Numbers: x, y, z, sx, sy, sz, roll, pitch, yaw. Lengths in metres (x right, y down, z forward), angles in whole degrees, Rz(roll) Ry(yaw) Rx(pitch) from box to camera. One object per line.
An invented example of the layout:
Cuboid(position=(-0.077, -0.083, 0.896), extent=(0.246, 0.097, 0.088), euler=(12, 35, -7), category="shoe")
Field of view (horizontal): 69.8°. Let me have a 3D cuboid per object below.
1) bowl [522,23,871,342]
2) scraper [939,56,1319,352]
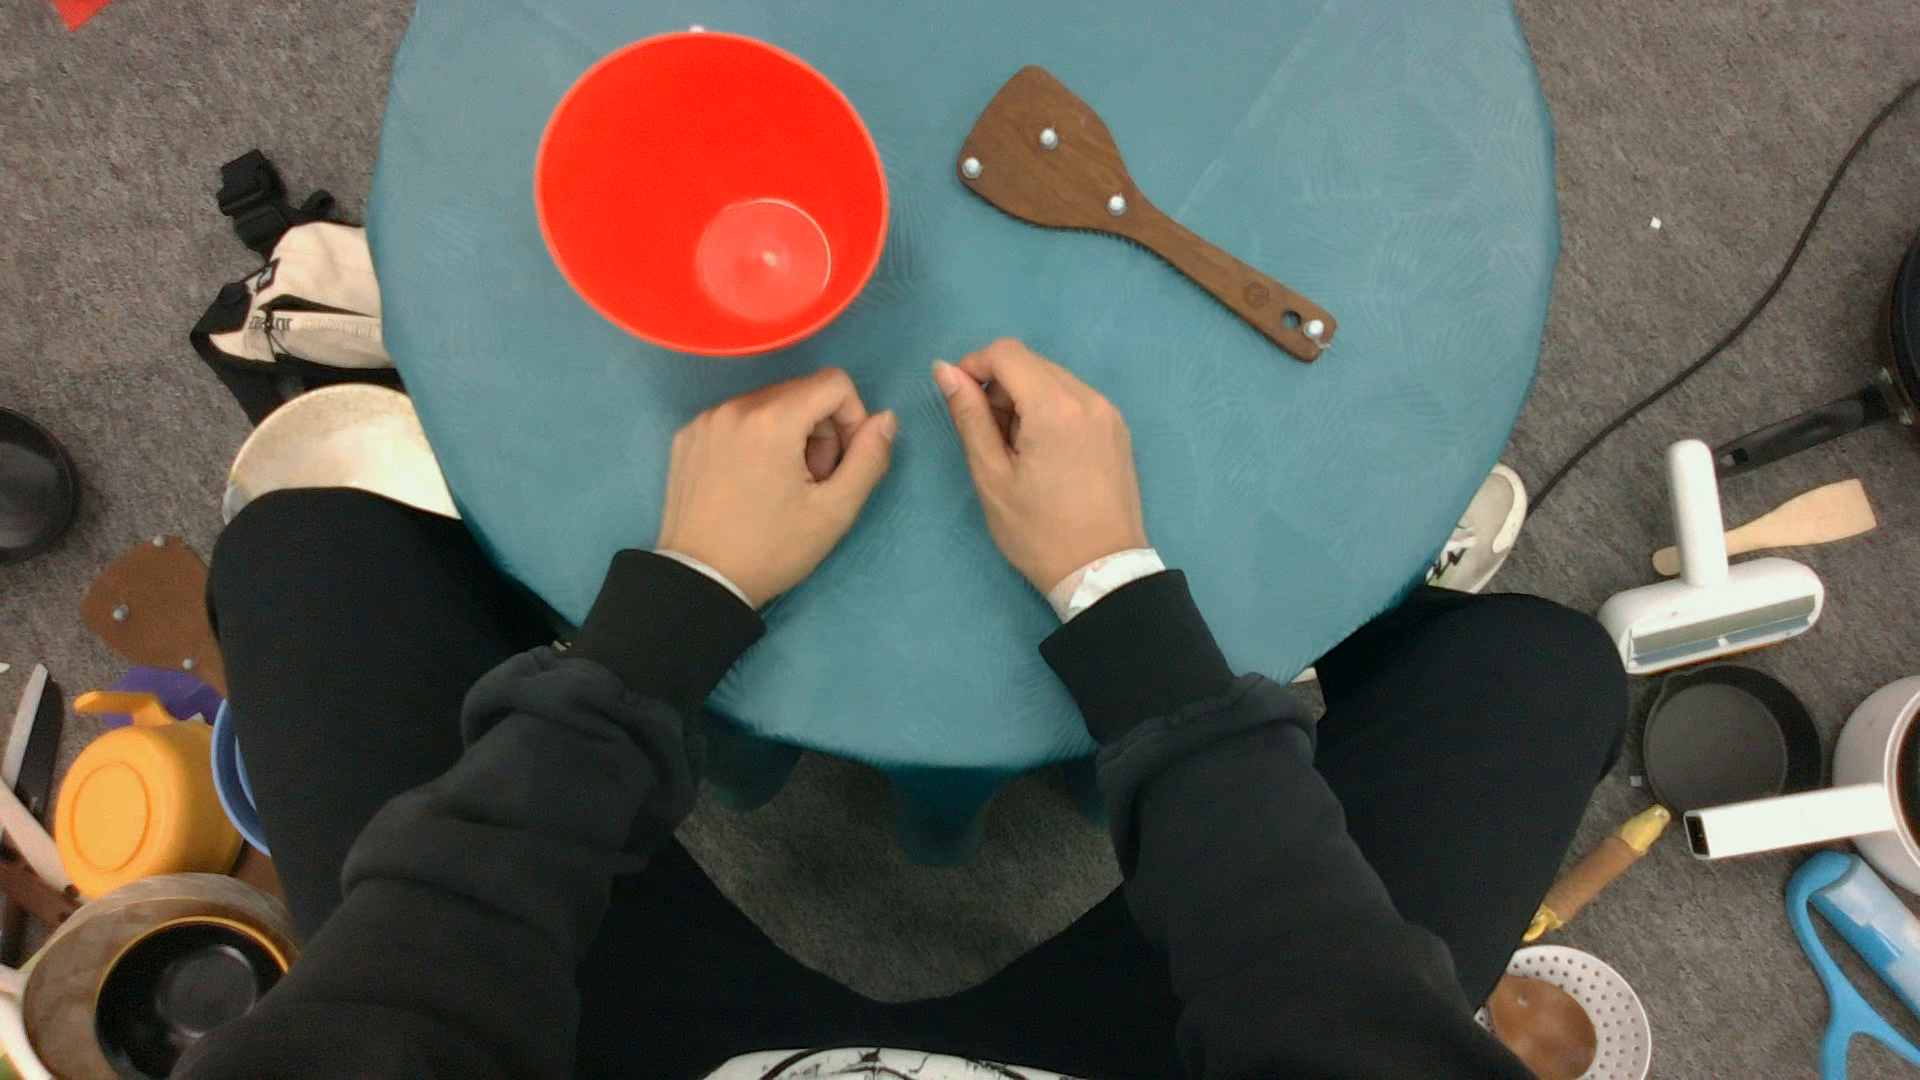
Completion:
Cuboid(position=(-0.115, -0.152, 0.640), extent=(0.148, 0.104, 0.148), euler=(0, 80, -2), category="bowl")
Cuboid(position=(0.089, -0.162, 0.697), extent=(0.211, 0.011, 0.076), euler=(35, 82, 3), category="scraper")
